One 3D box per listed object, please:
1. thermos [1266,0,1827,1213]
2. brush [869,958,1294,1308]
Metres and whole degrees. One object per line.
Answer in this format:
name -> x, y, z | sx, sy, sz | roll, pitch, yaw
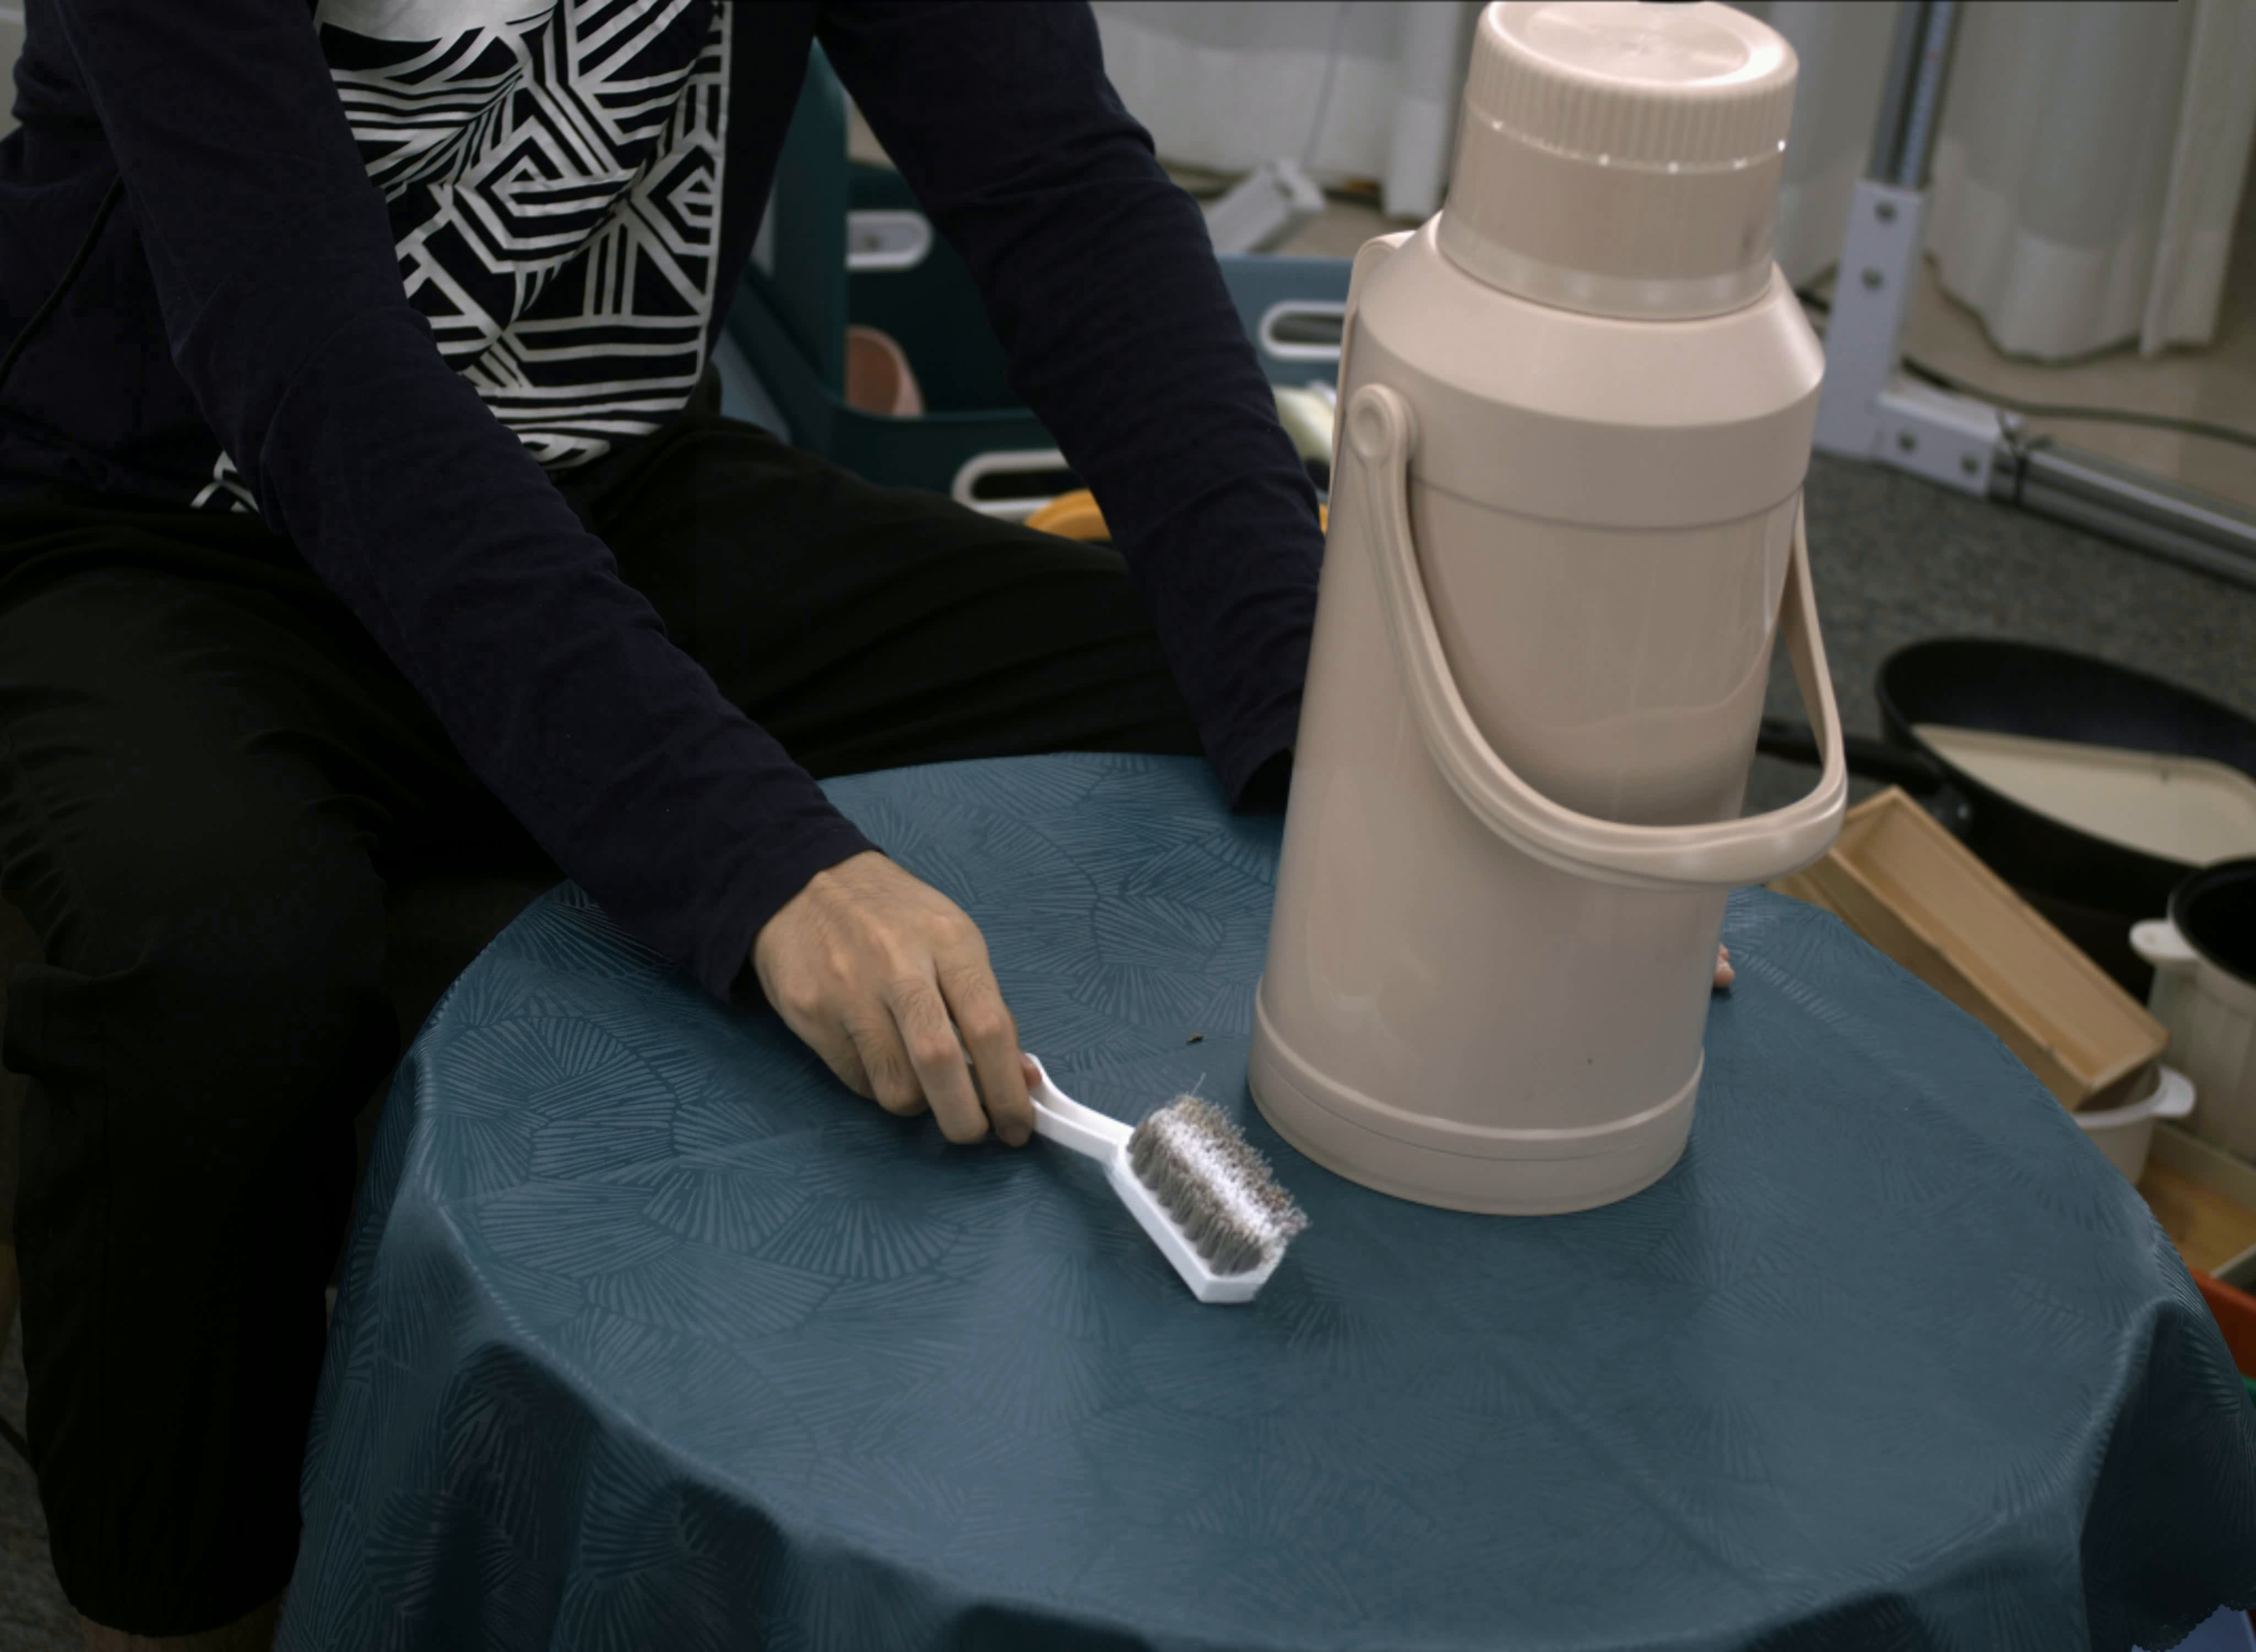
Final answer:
thermos -> 0.137, -0.085, 1.810 | 0.174, 0.405, 0.209 | -13, 33, -32
brush -> -0.022, 0.088, 1.819 | 0.034, 0.050, 0.246 | -17, 35, -27
